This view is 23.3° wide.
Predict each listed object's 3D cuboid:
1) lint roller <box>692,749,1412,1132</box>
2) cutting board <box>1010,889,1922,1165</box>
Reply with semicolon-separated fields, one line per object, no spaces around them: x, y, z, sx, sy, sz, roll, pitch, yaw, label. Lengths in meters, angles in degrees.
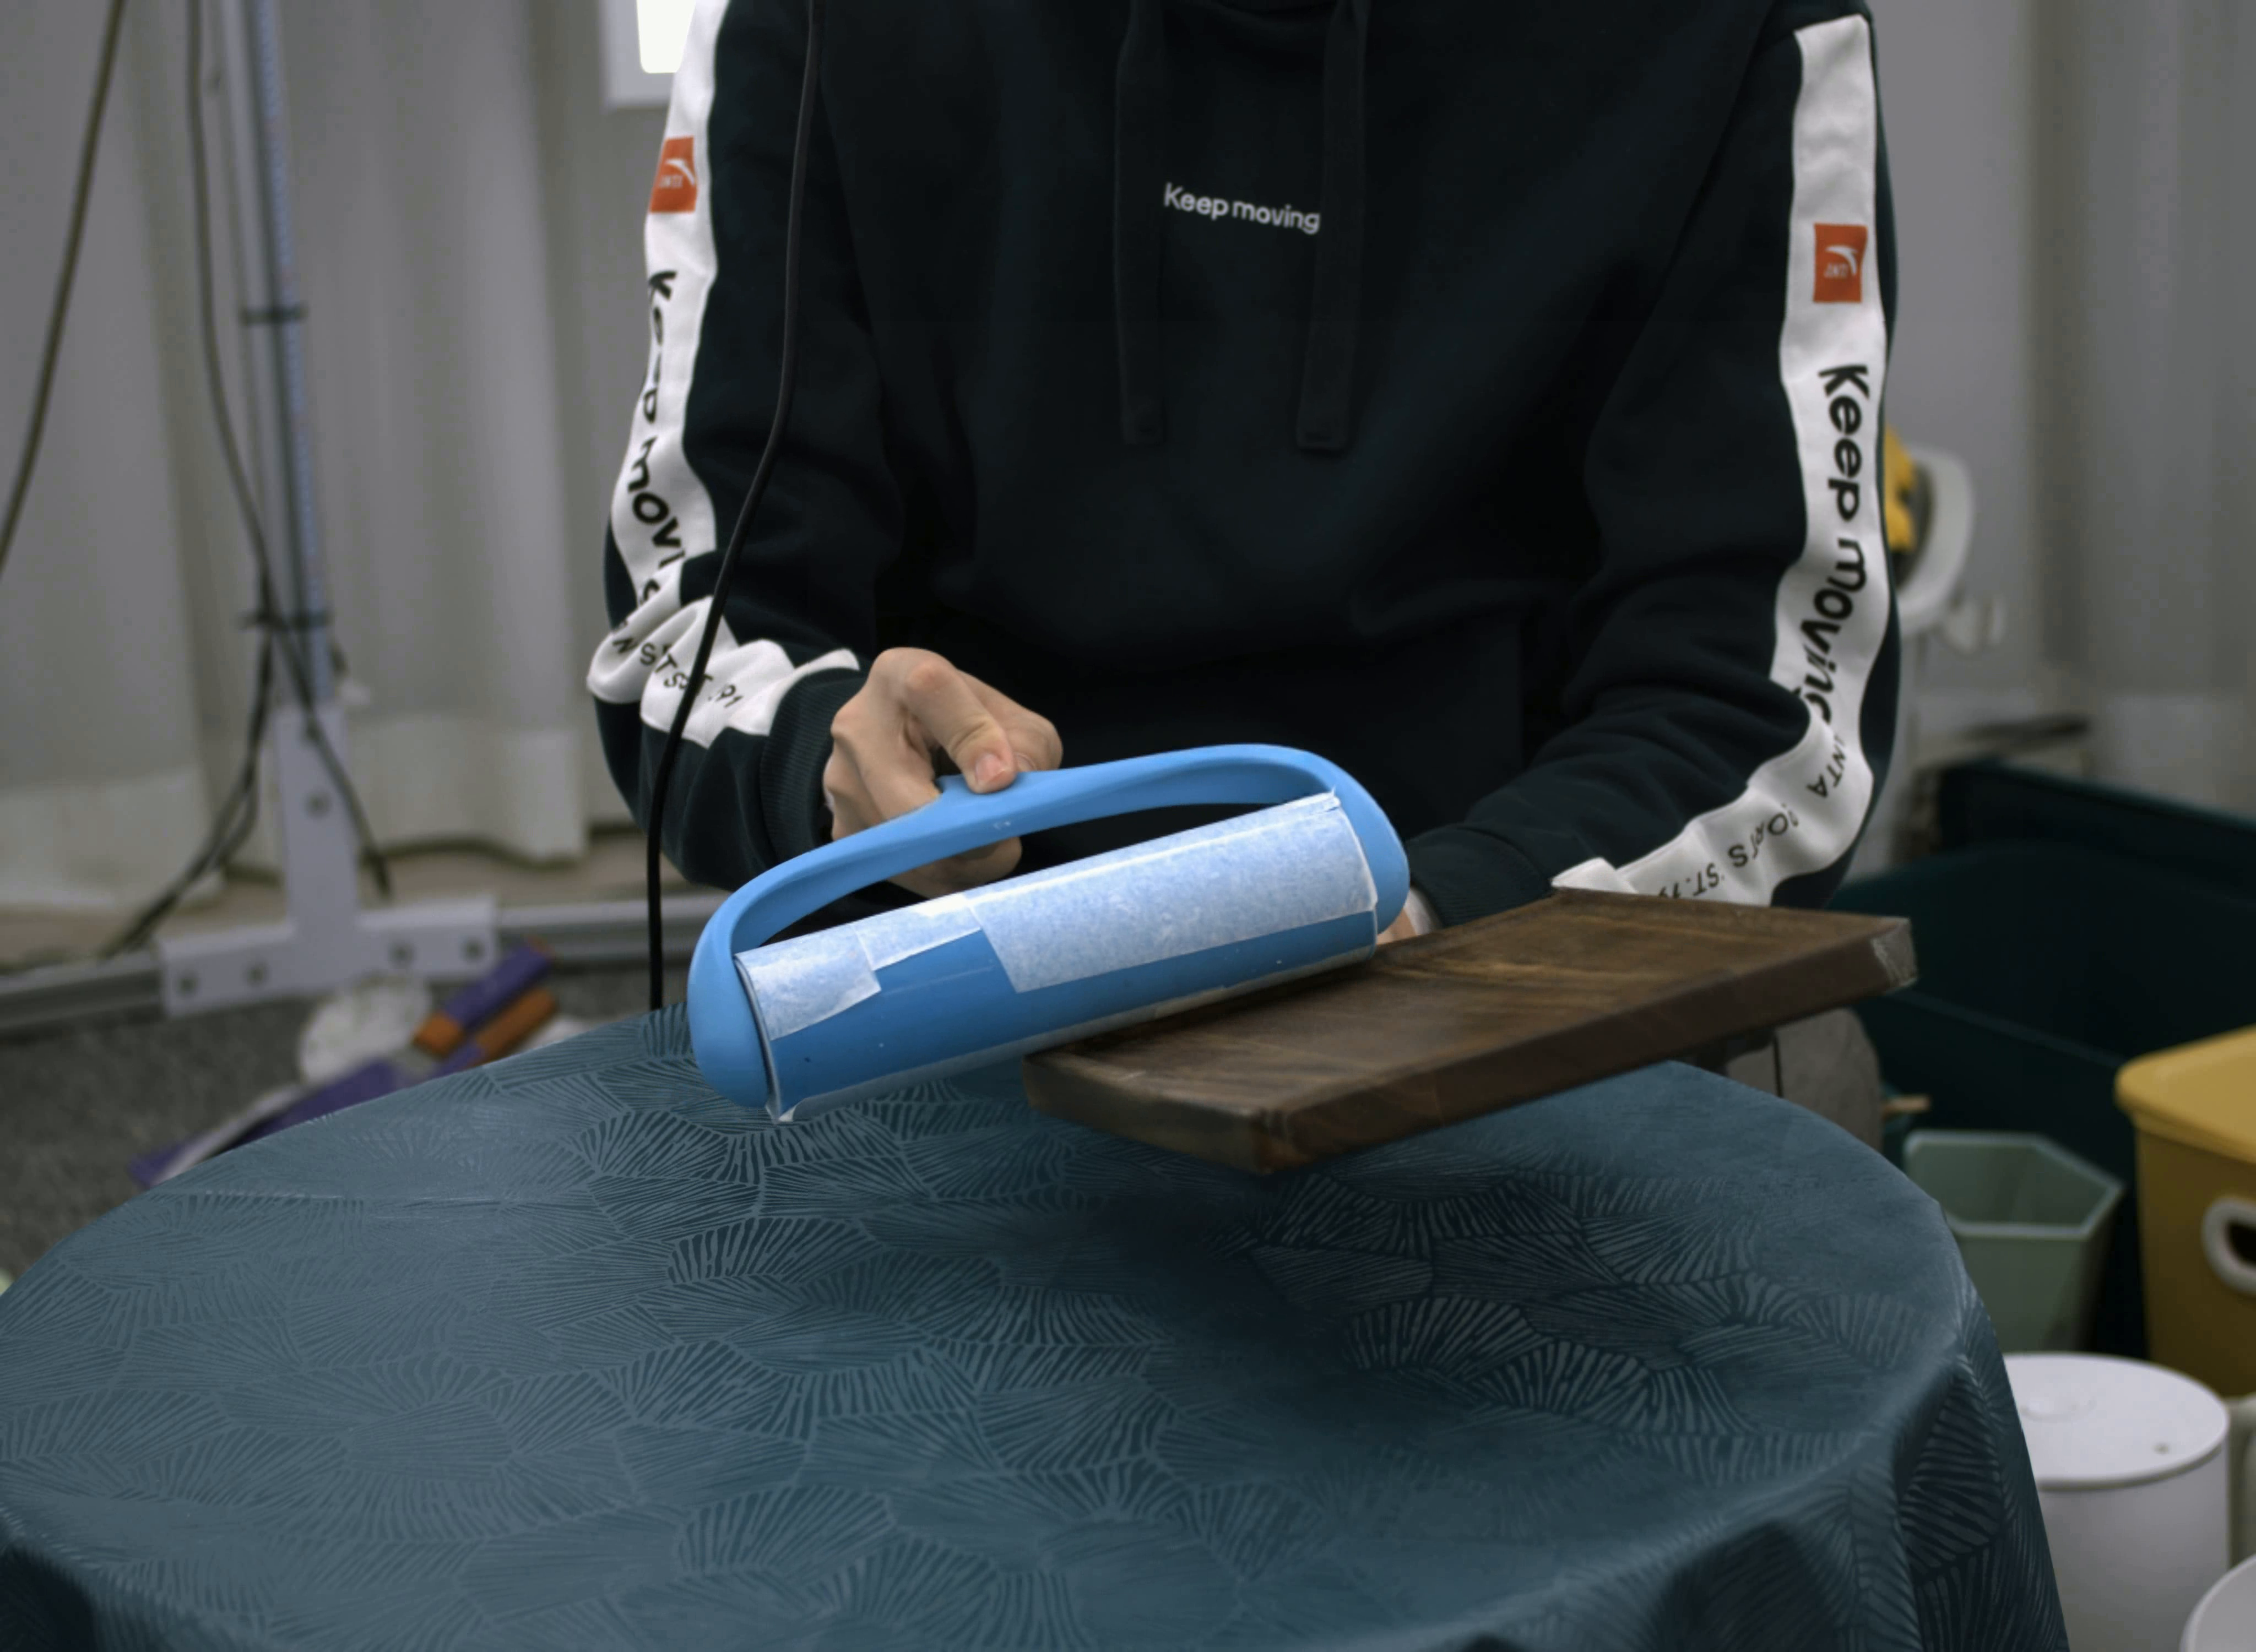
-0.042;0.018;1.719;0.228;0.067;0.182;-18;27;-14;lint roller
0.077;0.054;1.634;0.200;0.023;0.353;-15;5;-16;cutting board
